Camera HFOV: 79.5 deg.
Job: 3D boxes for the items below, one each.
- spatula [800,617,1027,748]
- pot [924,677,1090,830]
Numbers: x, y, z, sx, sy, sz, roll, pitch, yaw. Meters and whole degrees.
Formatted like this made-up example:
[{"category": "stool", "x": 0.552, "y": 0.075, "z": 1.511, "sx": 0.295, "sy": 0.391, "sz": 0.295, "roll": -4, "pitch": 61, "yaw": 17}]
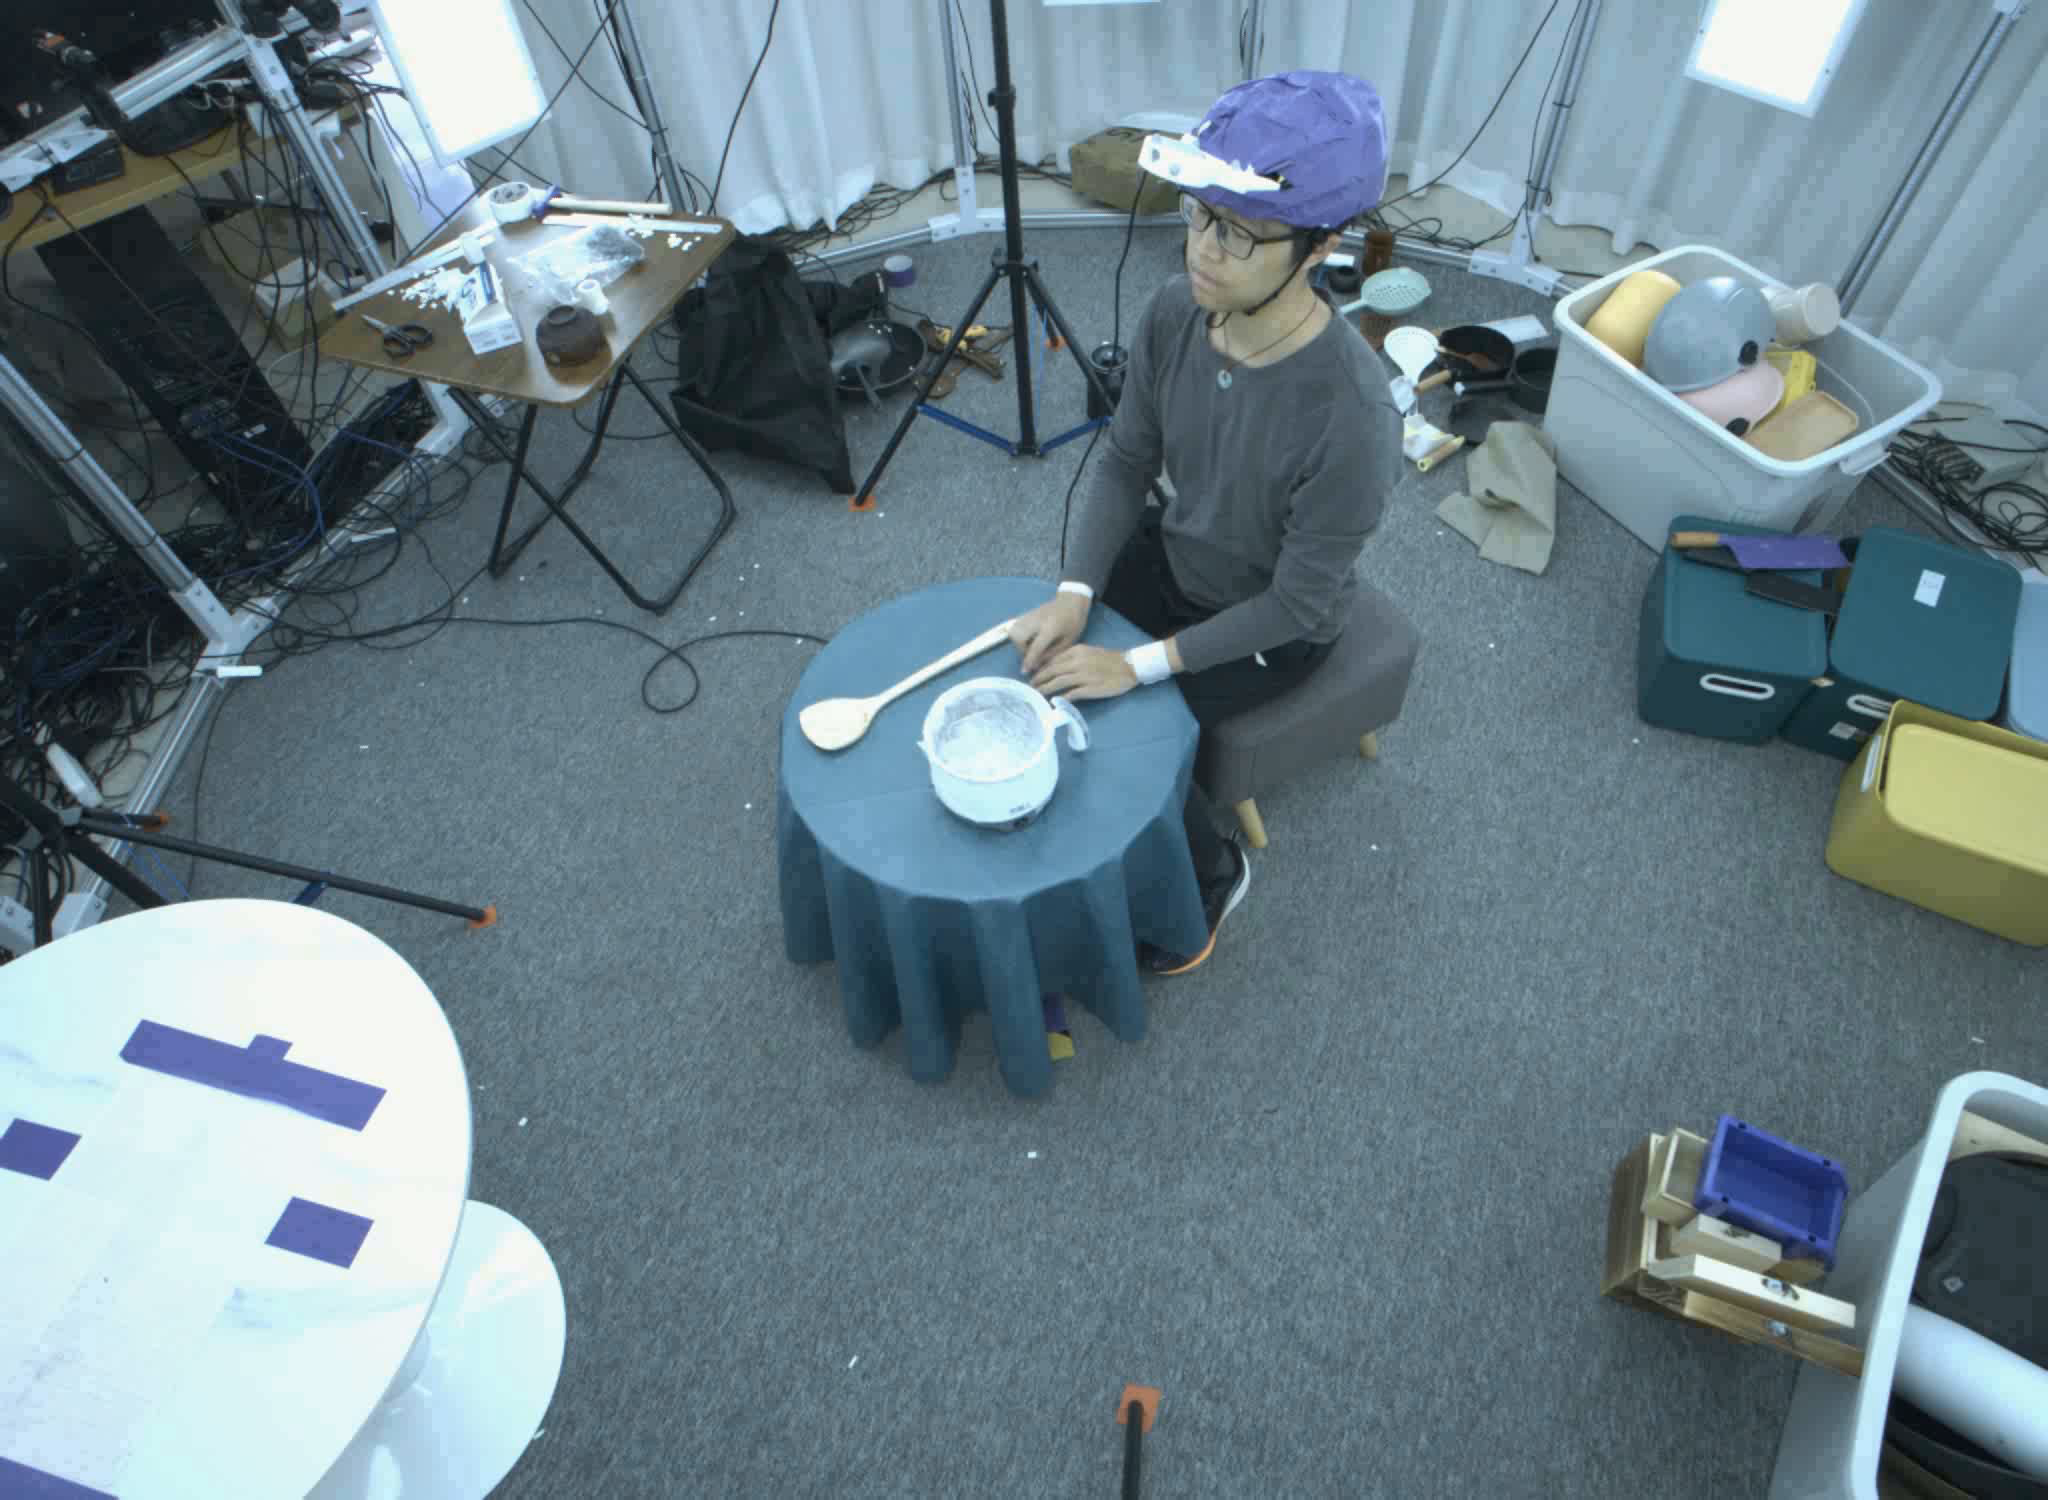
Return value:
[{"category": "spatula", "x": -0.161, "y": -0.116, "z": 1.870, "sx": 0.394, "sy": 0.018, "sz": 0.094, "roll": -31, "pitch": 61, "yaw": -19}, {"category": "pot", "x": -0.018, "y": -0.003, "z": 1.713, "sx": 0.235, "sy": 0.138, "sz": 0.175, "roll": -23, "pitch": 57, "yaw": -14}]
